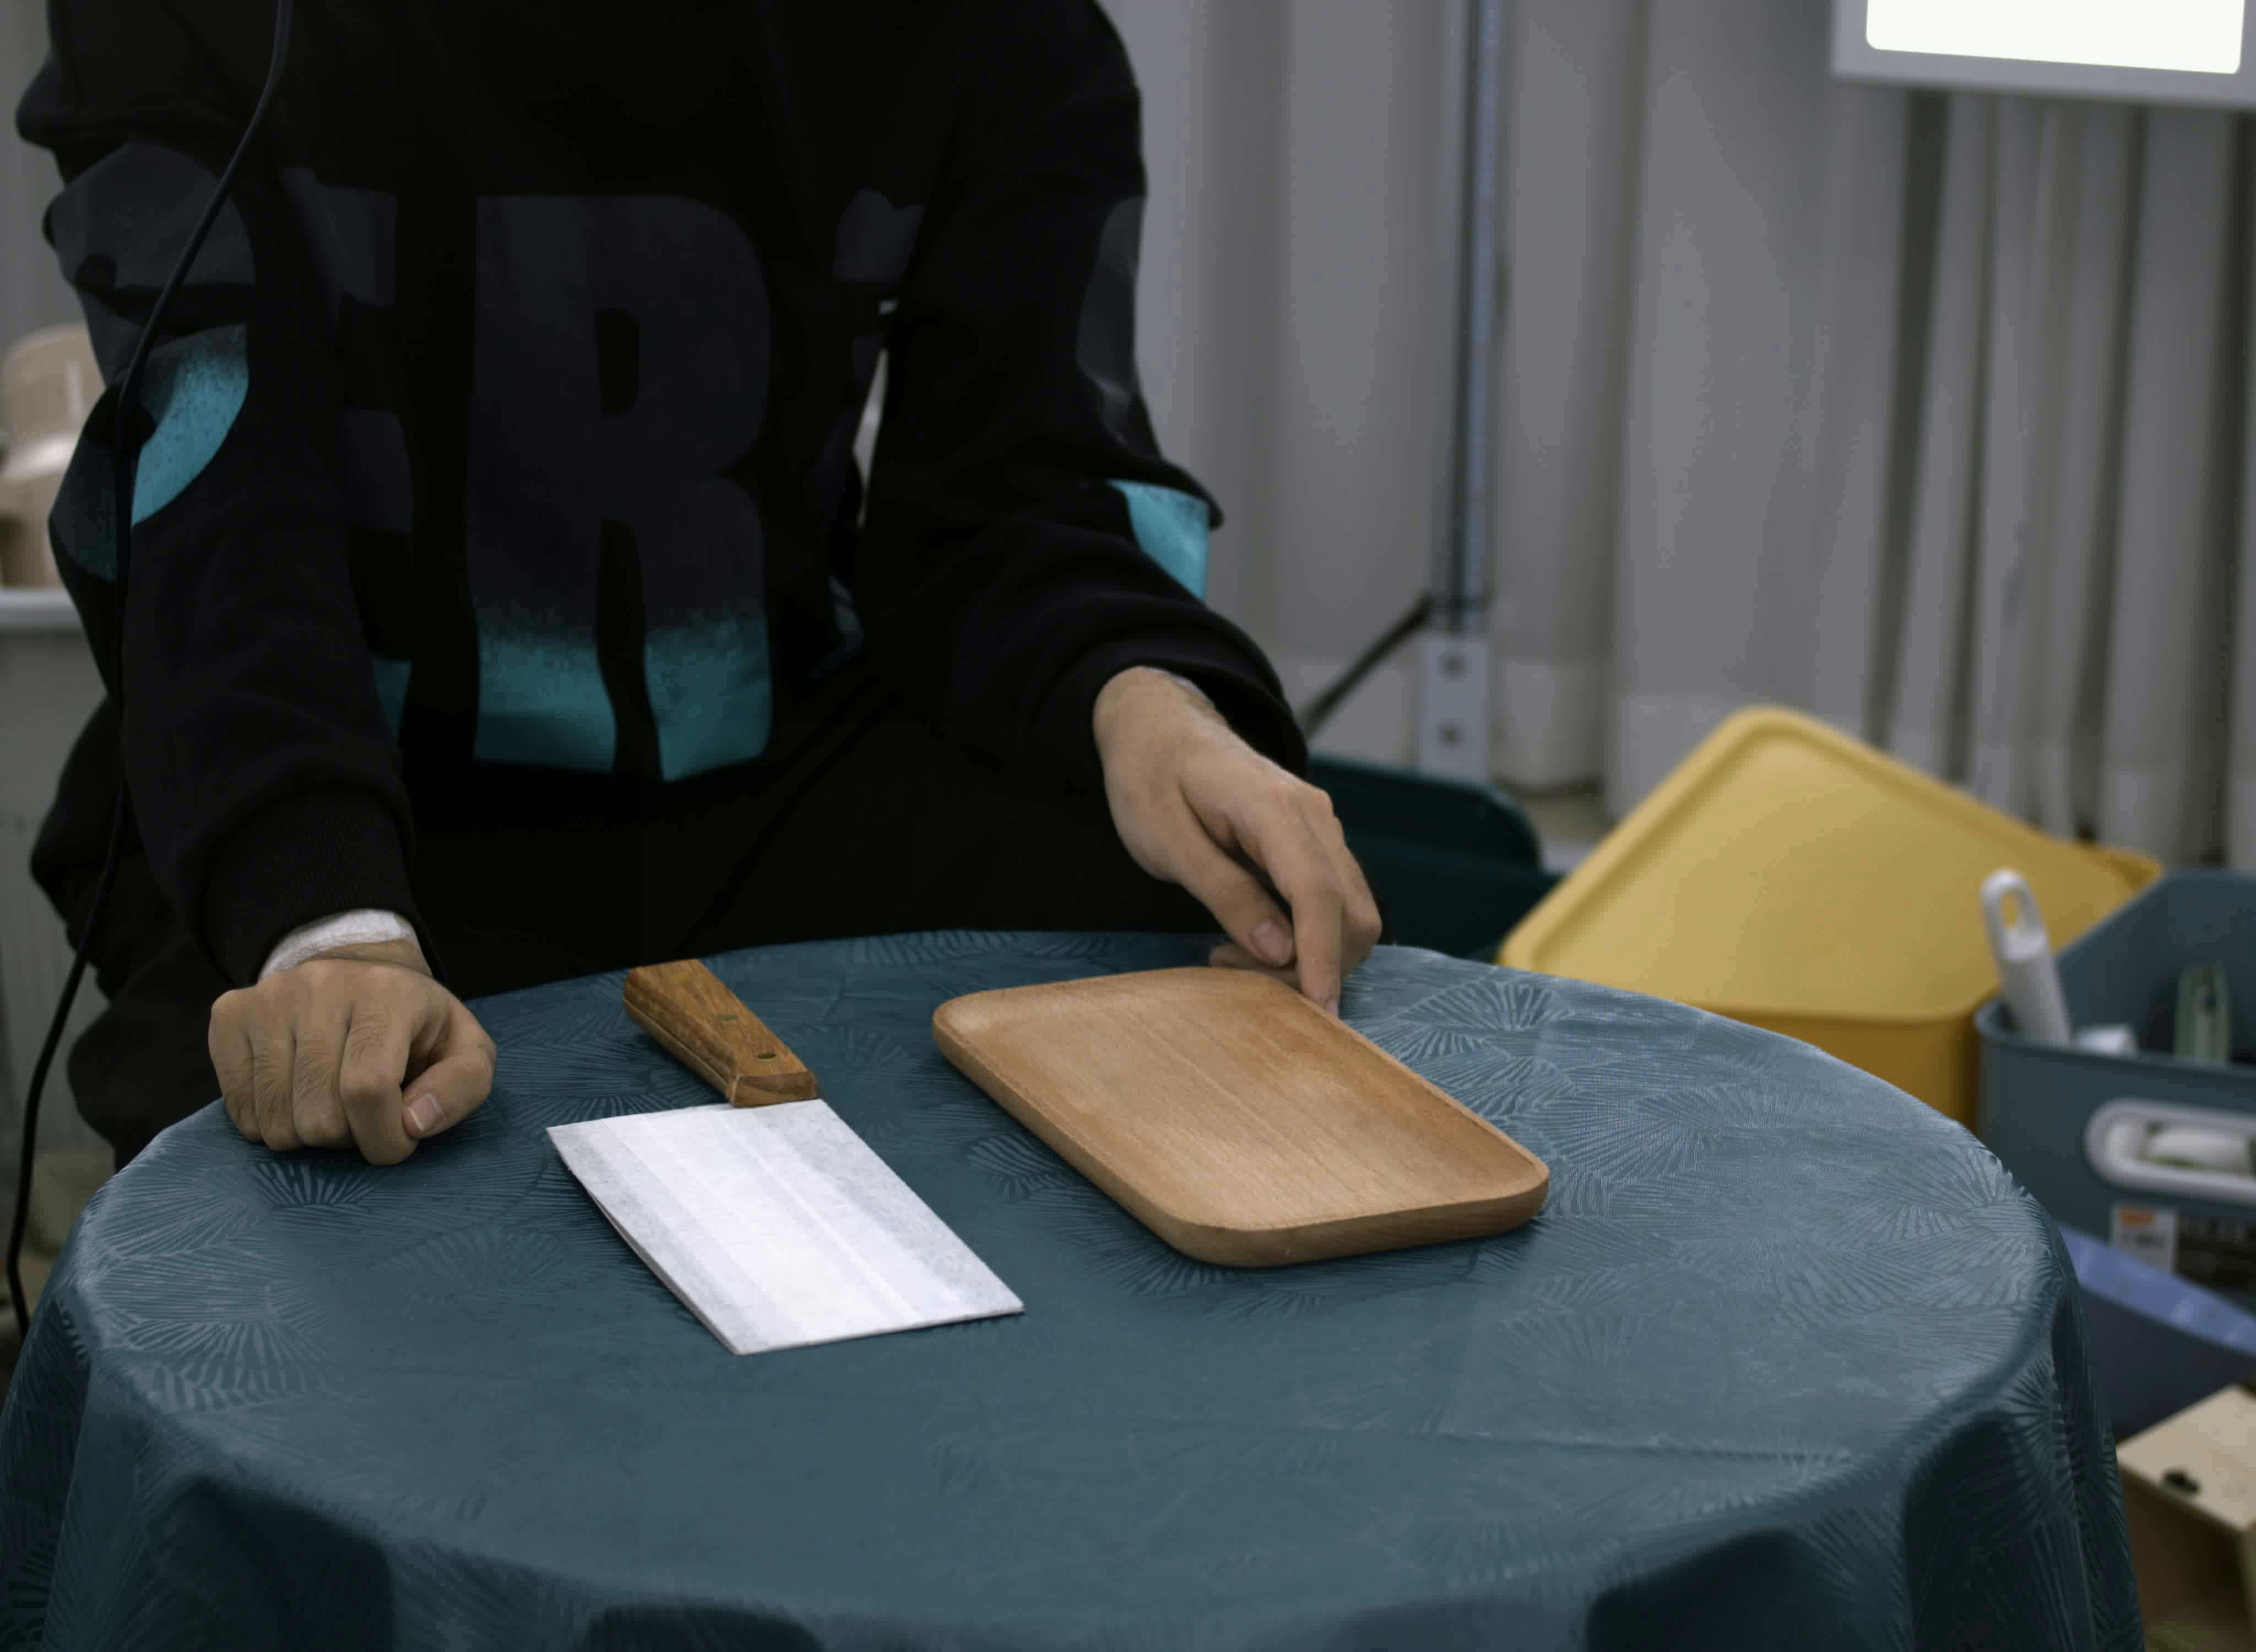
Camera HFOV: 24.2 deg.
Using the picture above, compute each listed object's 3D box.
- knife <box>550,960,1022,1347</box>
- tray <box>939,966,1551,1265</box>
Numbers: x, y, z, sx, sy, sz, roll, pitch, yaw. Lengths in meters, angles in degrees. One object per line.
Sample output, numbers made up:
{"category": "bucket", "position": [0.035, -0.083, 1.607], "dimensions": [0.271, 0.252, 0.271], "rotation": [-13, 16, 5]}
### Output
{"category": "knife", "position": [-0.126, 0.100, 1.634], "dimensions": [0.093, 0.021, 0.302], "rotation": [-8, 20, -21]}
{"category": "tray", "position": [0.033, 0.089, 1.676], "dimensions": [0.131, 0.023, 0.248], "rotation": [-3, 15, -21]}
